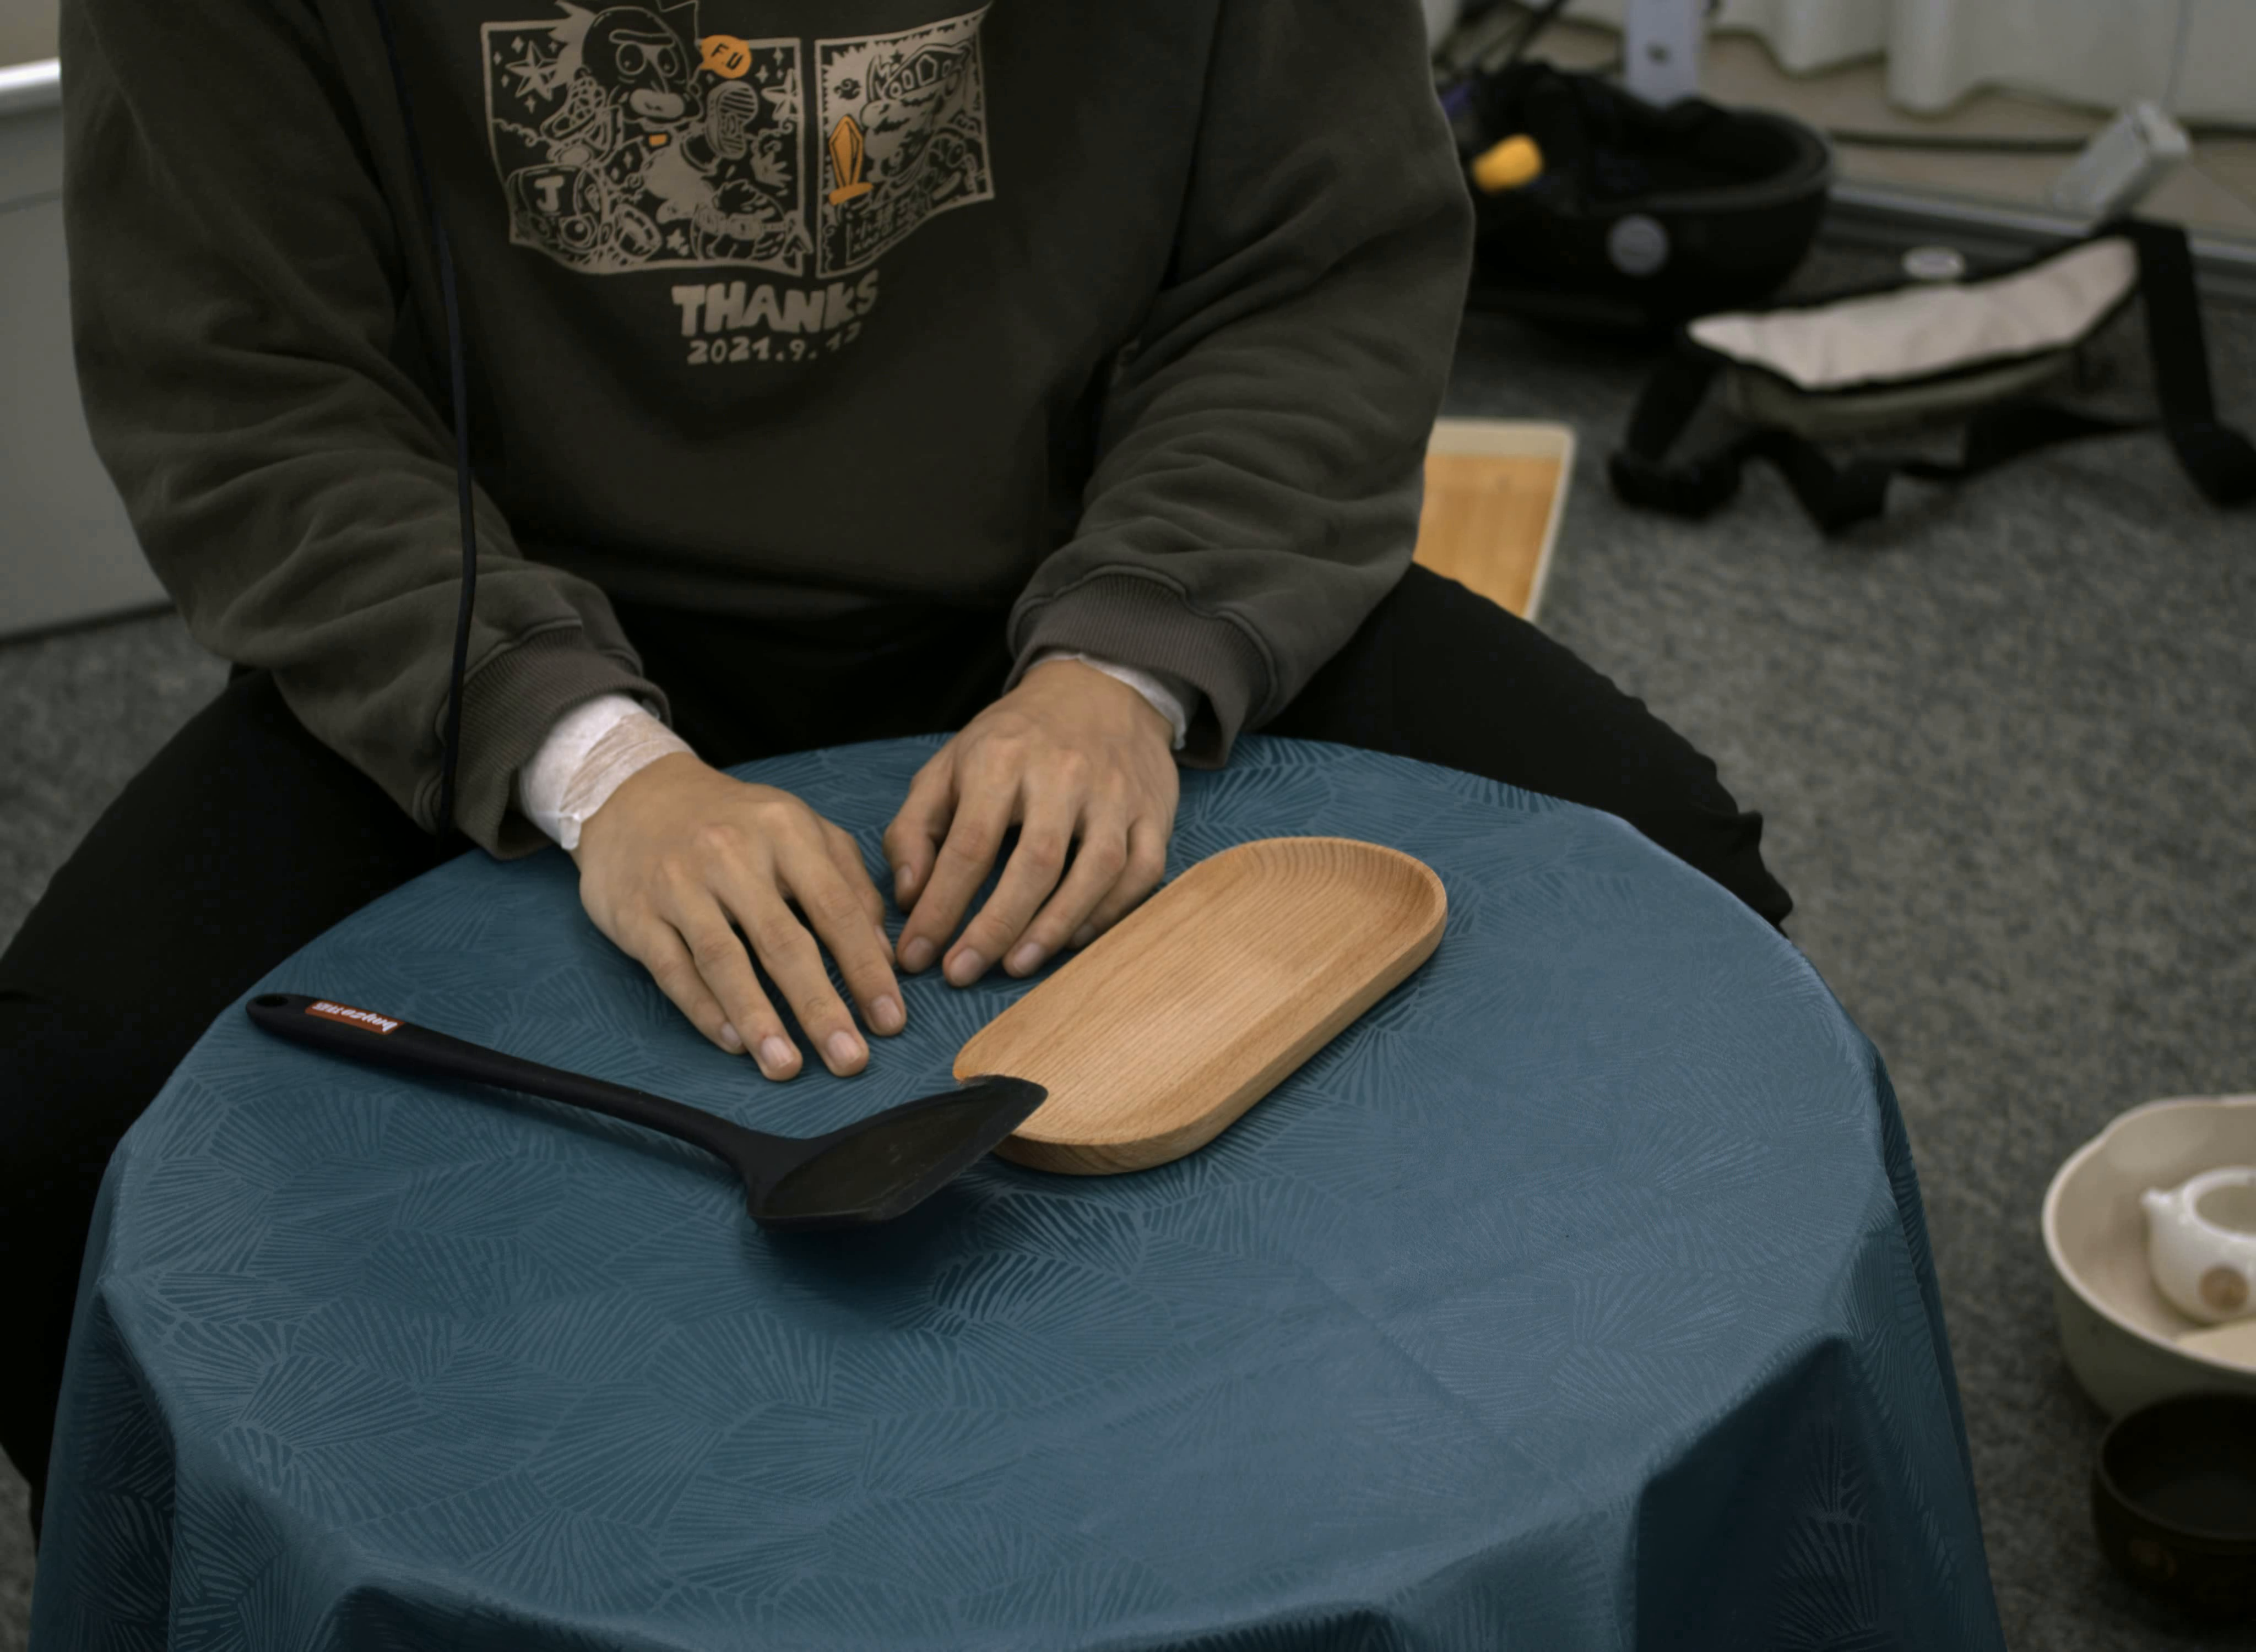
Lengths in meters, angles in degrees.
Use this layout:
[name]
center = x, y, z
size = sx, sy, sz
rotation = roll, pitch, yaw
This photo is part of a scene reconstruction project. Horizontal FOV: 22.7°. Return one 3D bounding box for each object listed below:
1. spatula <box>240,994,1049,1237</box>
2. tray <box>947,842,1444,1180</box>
[spatula]
center = -0.179, 0.088, 1.904
size = 0.324, 0.040, 0.101
rotation = 15, 31, 31
[tray]
center = 0.026, 0.063, 1.953
size = 0.101, 0.020, 0.235
rotation = 14, 33, 31
